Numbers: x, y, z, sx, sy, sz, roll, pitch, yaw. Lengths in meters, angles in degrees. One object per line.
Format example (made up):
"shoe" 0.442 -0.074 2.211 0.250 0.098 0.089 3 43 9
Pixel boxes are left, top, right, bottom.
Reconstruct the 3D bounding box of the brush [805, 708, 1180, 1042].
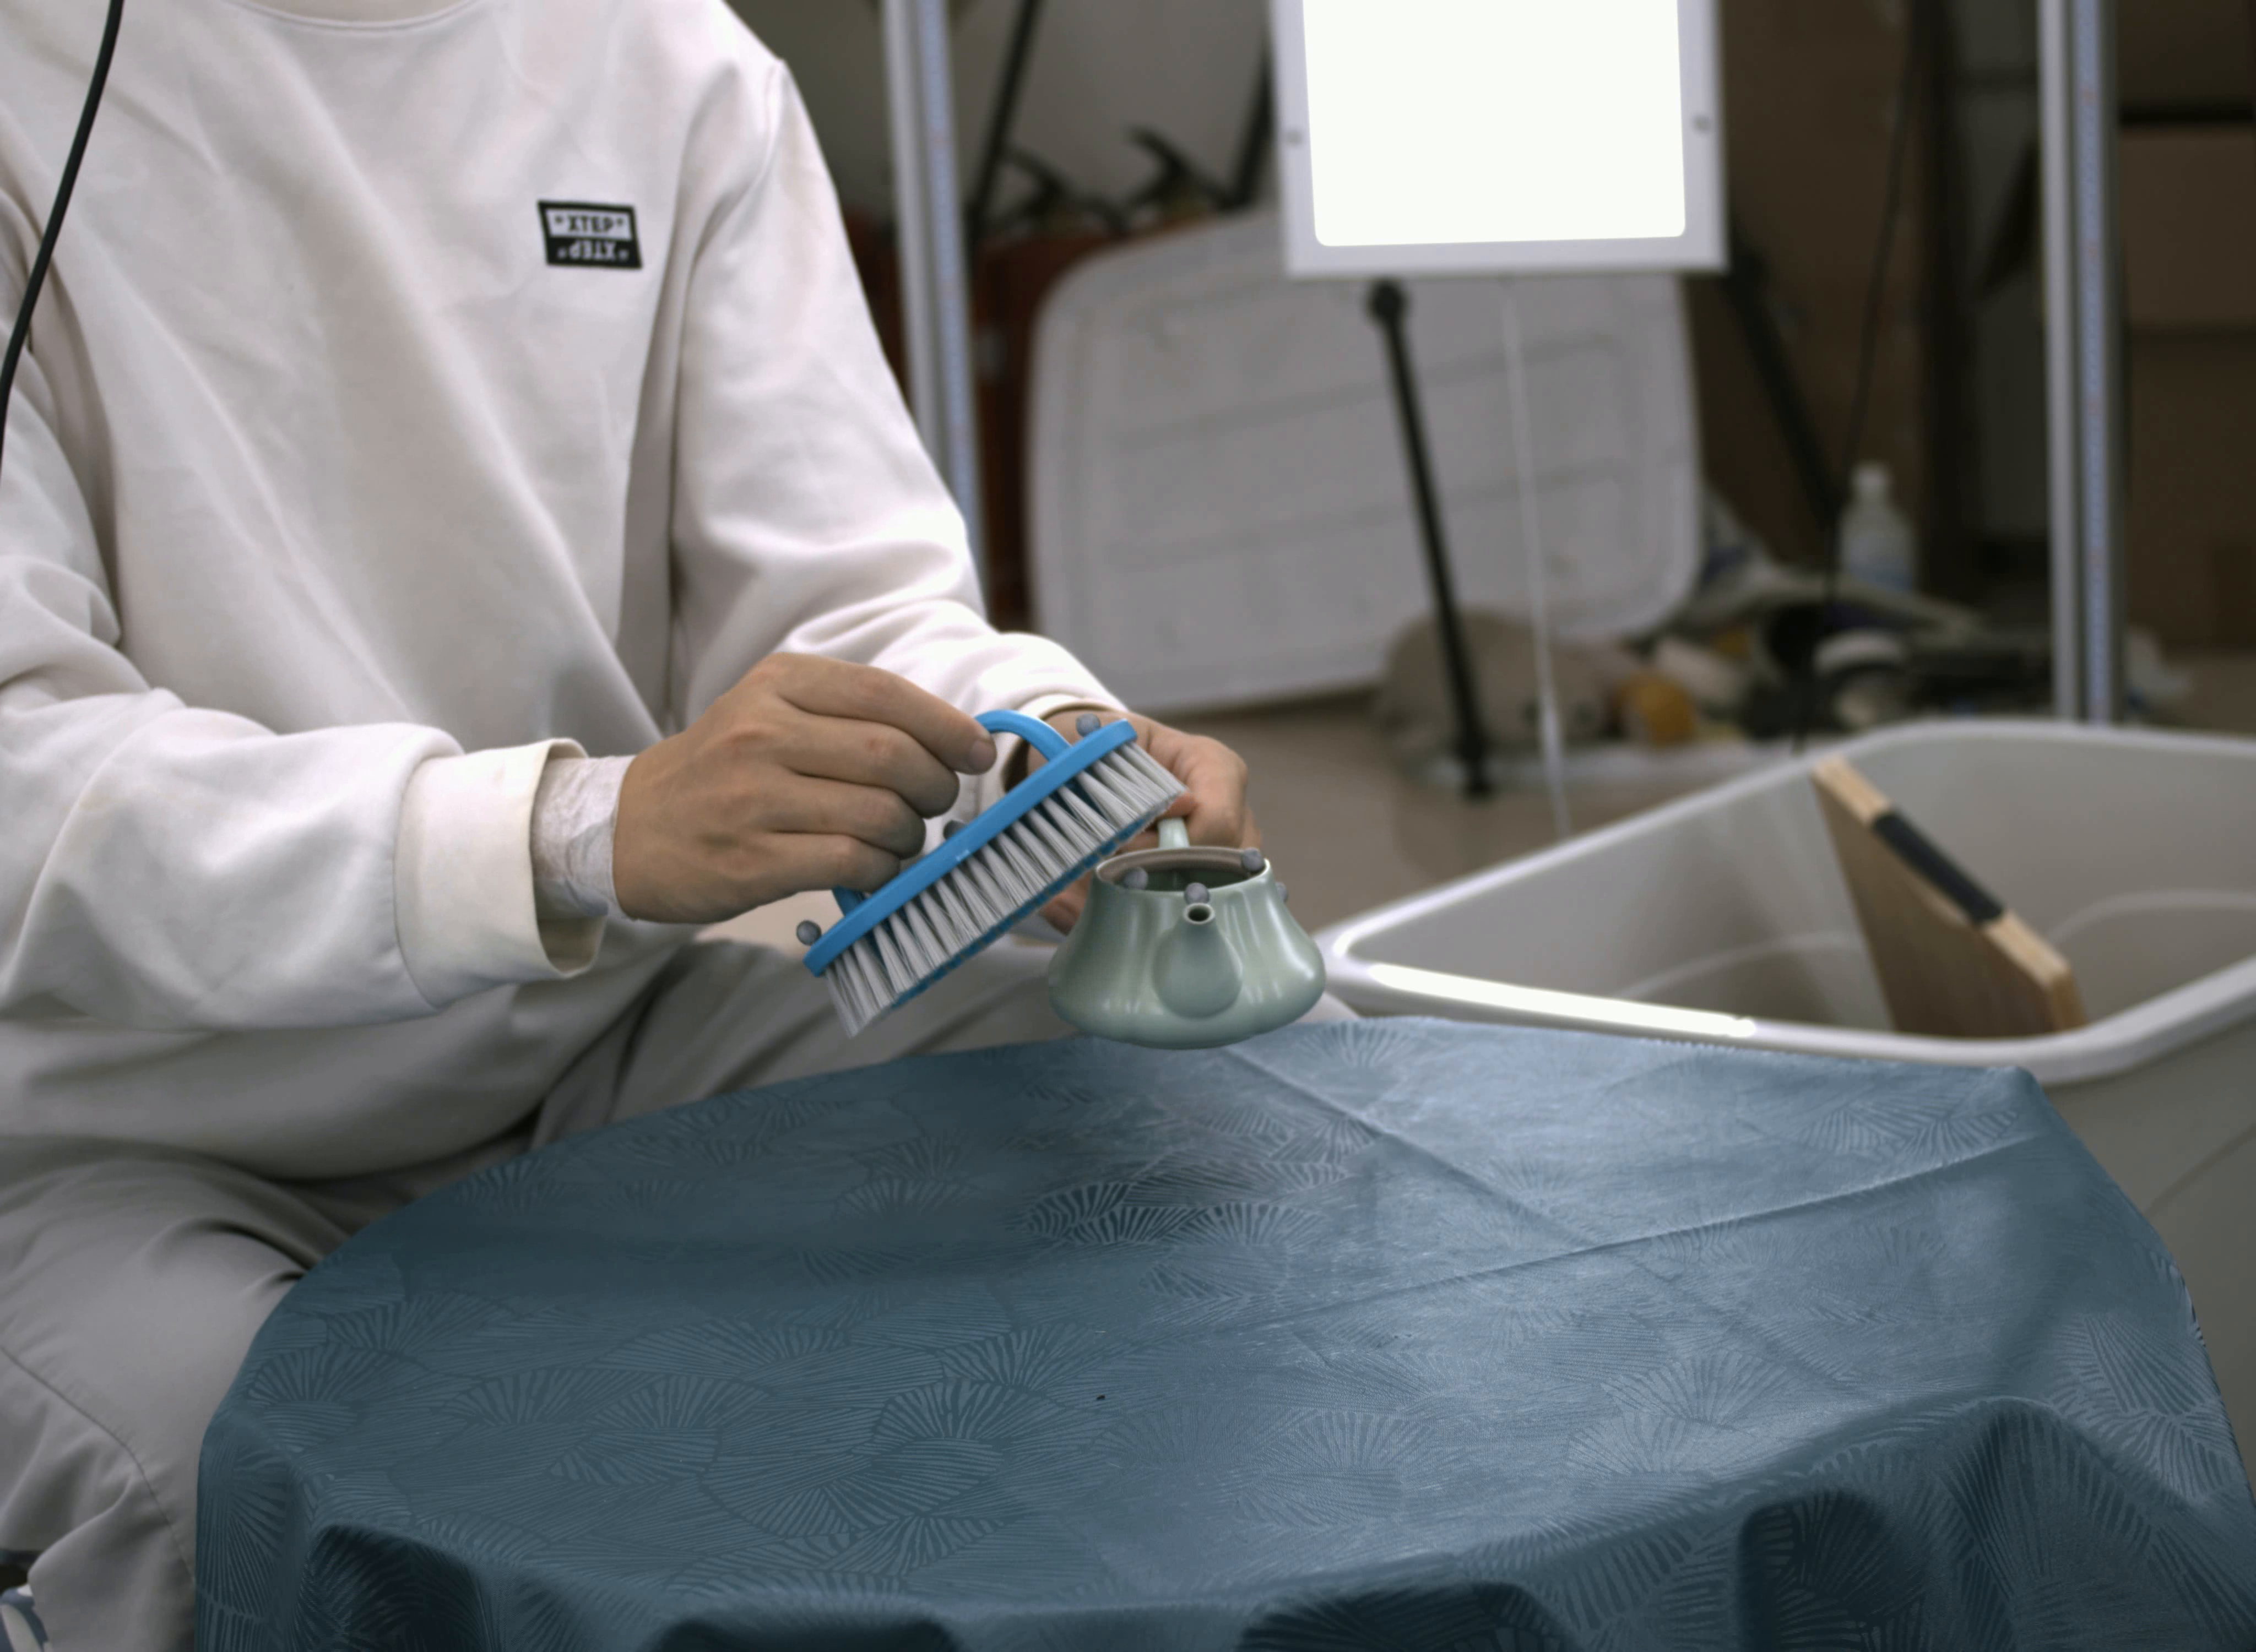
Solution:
"brush" -0.054 0.006 1.853 0.142 0.064 0.084 -39 3 5

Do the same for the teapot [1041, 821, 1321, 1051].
"teapot" 0.017 0.040 1.882 0.095 0.061 0.137 -8 14 -4
